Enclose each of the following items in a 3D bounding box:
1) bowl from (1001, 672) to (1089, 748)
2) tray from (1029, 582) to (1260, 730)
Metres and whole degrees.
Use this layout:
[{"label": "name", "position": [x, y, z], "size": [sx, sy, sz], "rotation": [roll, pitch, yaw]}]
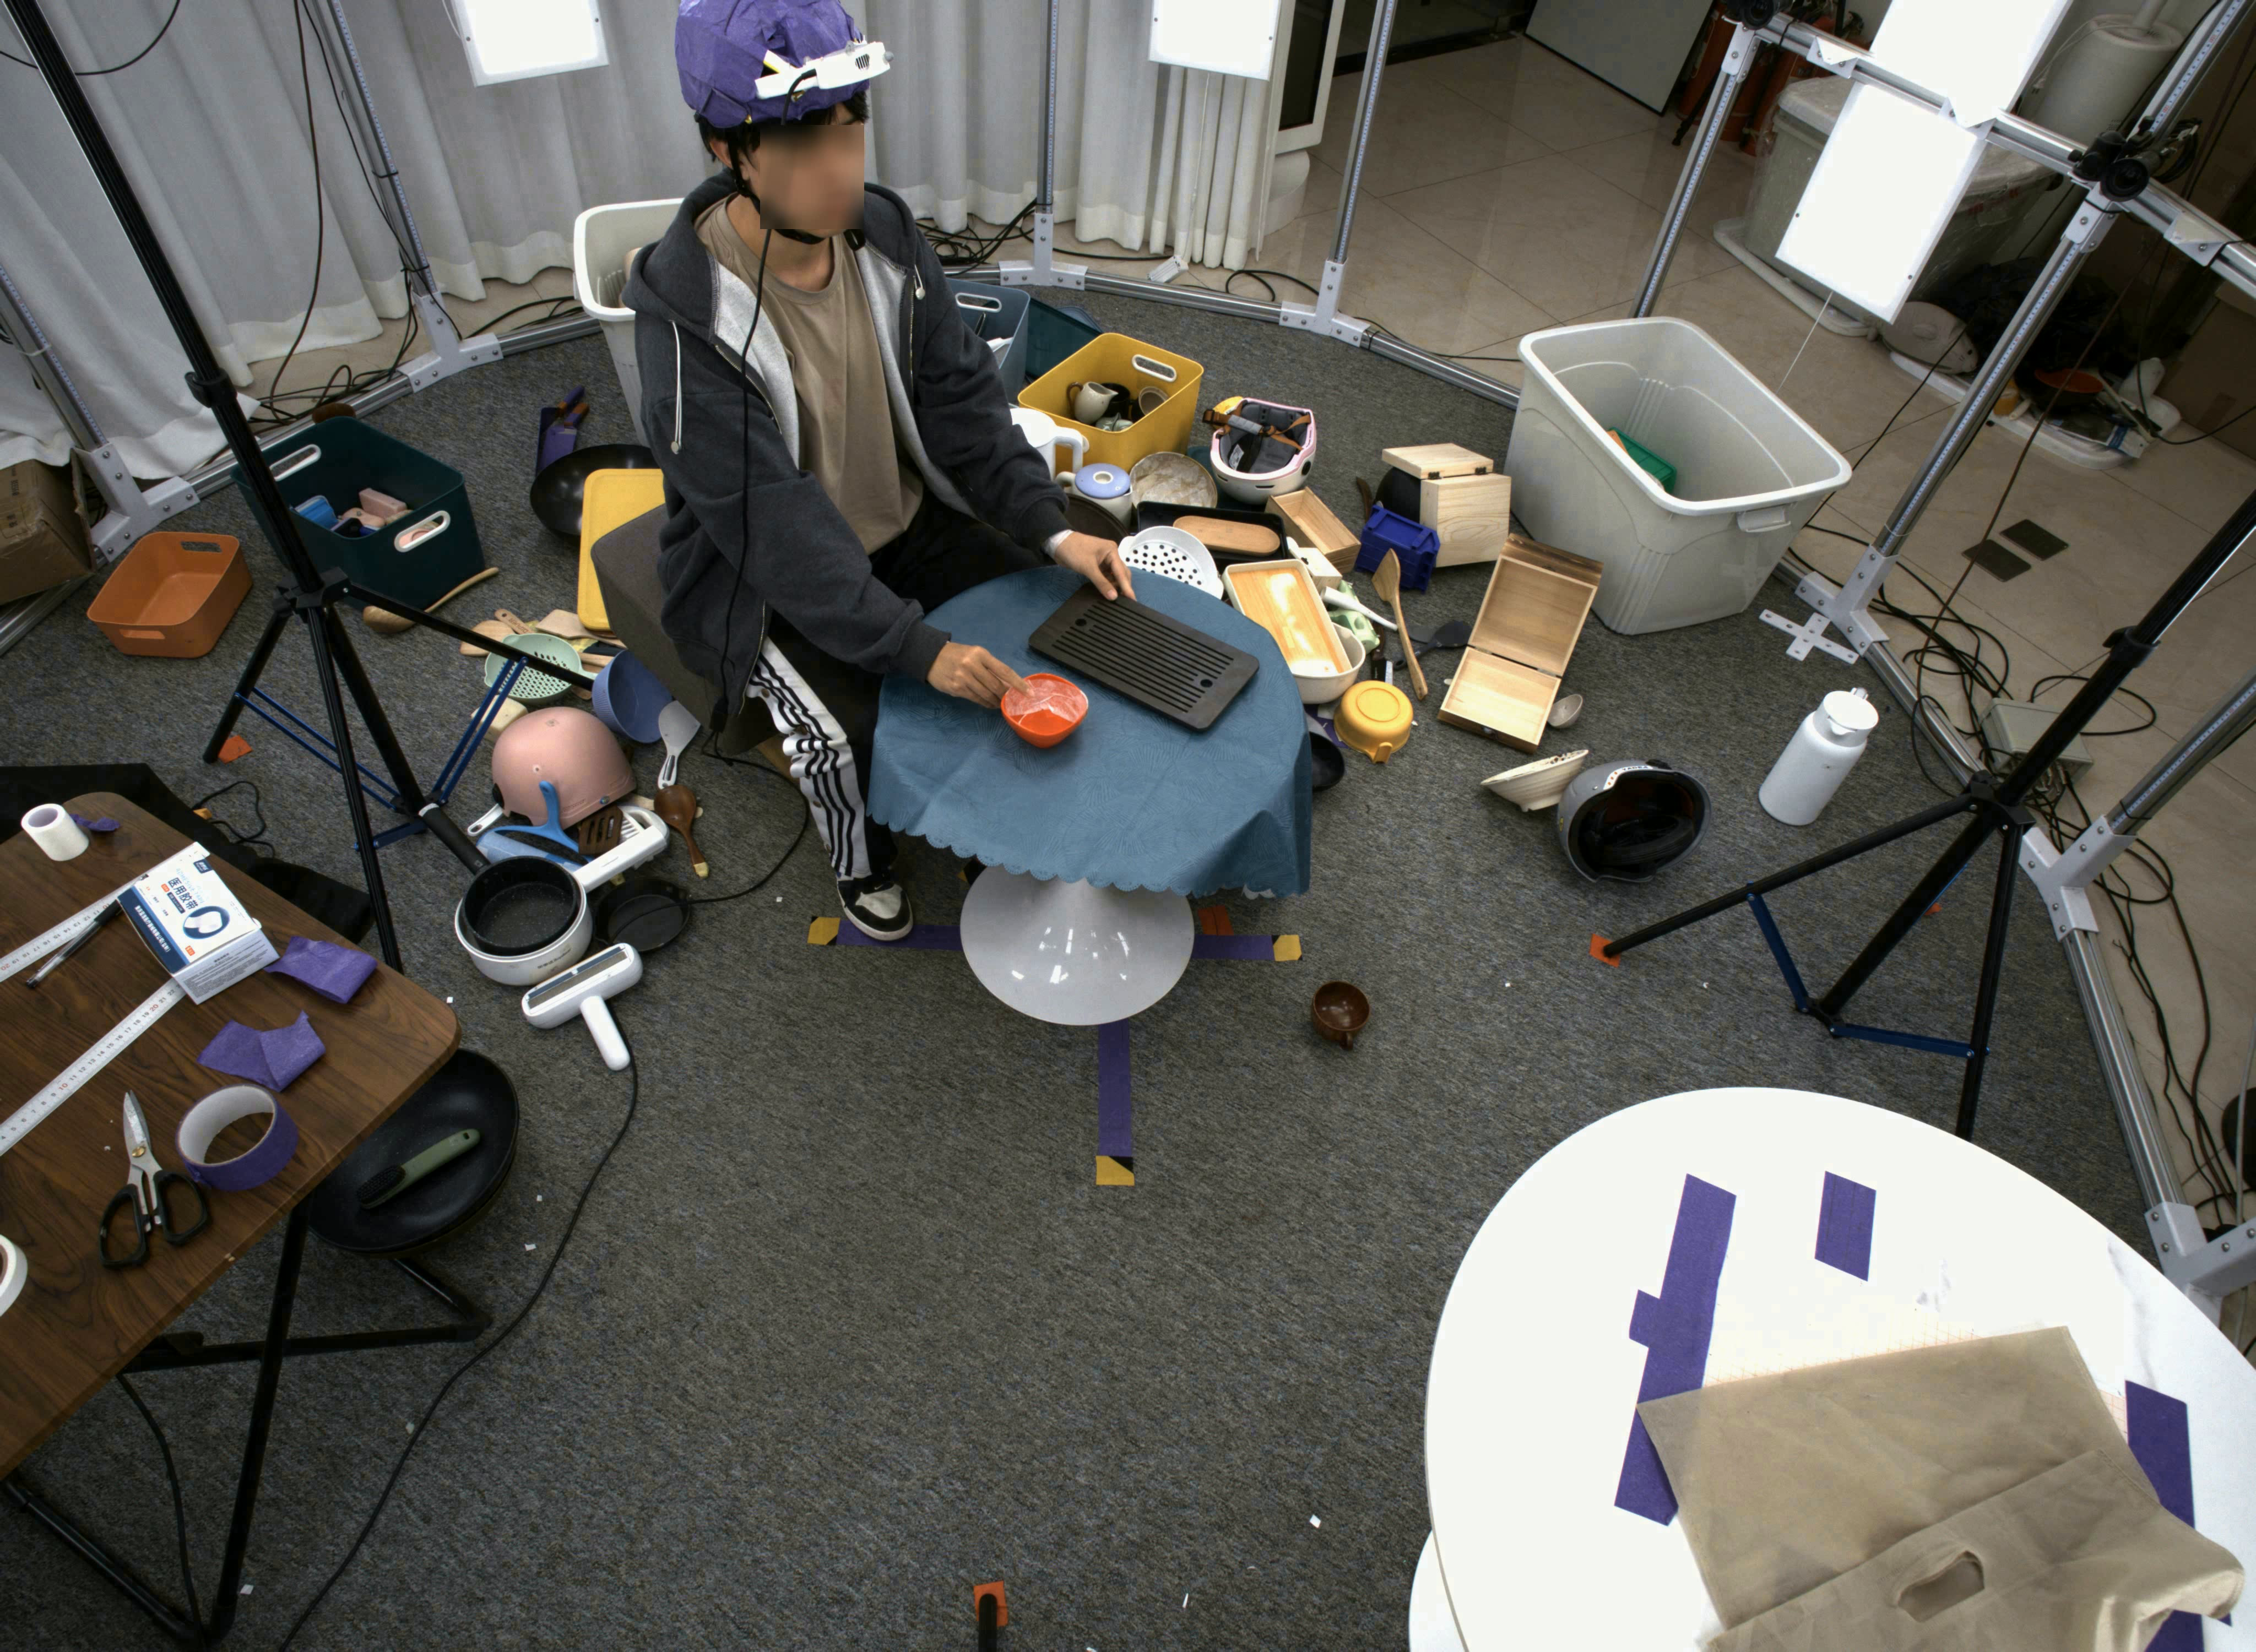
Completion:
[{"label": "bowl", "position": [-0.114, -0.153, 1.755], "size": [0.119, 0.050, 0.122], "rotation": [2, 51, -3]}, {"label": "tray", "position": [0.023, -0.250, 1.871], "size": [0.309, 0.018, 0.172], "rotation": [28, 54, 20]}]
